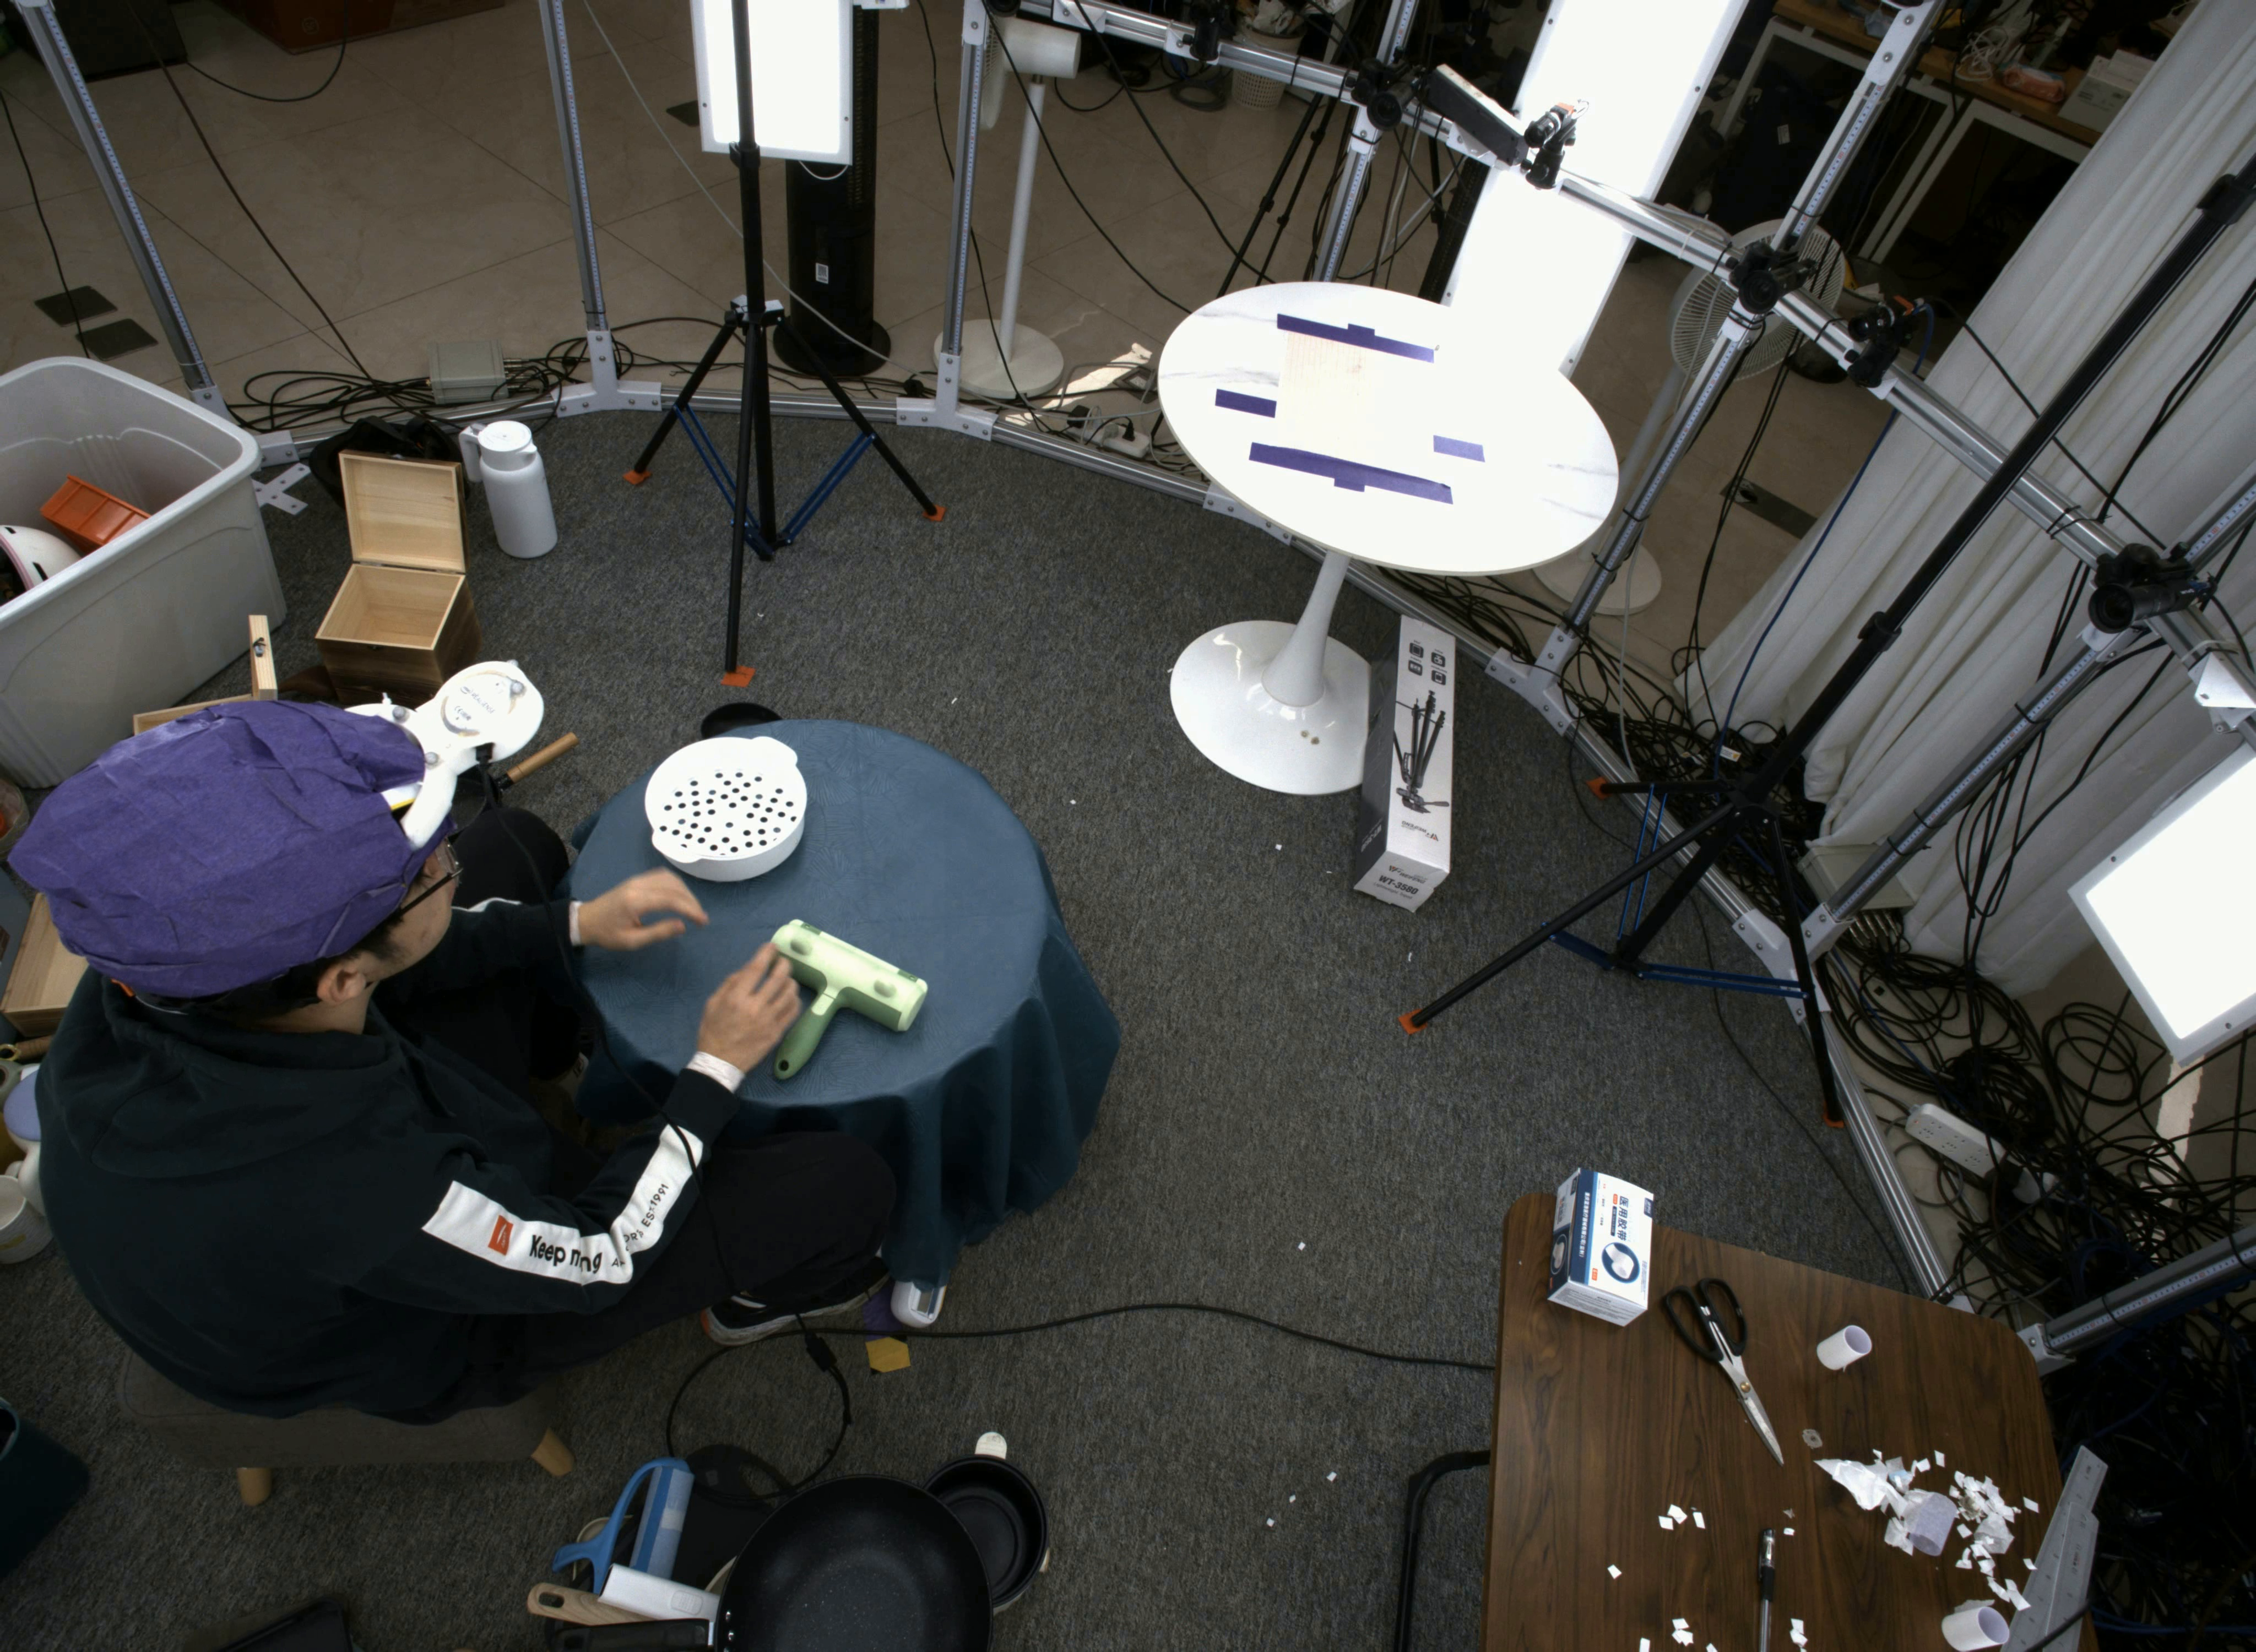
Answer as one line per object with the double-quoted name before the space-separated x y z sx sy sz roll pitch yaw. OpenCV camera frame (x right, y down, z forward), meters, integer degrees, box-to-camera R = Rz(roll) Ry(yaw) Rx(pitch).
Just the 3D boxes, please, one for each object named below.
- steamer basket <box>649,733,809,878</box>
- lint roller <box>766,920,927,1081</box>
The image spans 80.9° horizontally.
"steamer basket" -0.517 -0.026 1.679 0.199 0.070 0.229 29 50 7
"lint roller" -0.365 0.211 1.539 0.196 0.084 0.182 26 48 5
